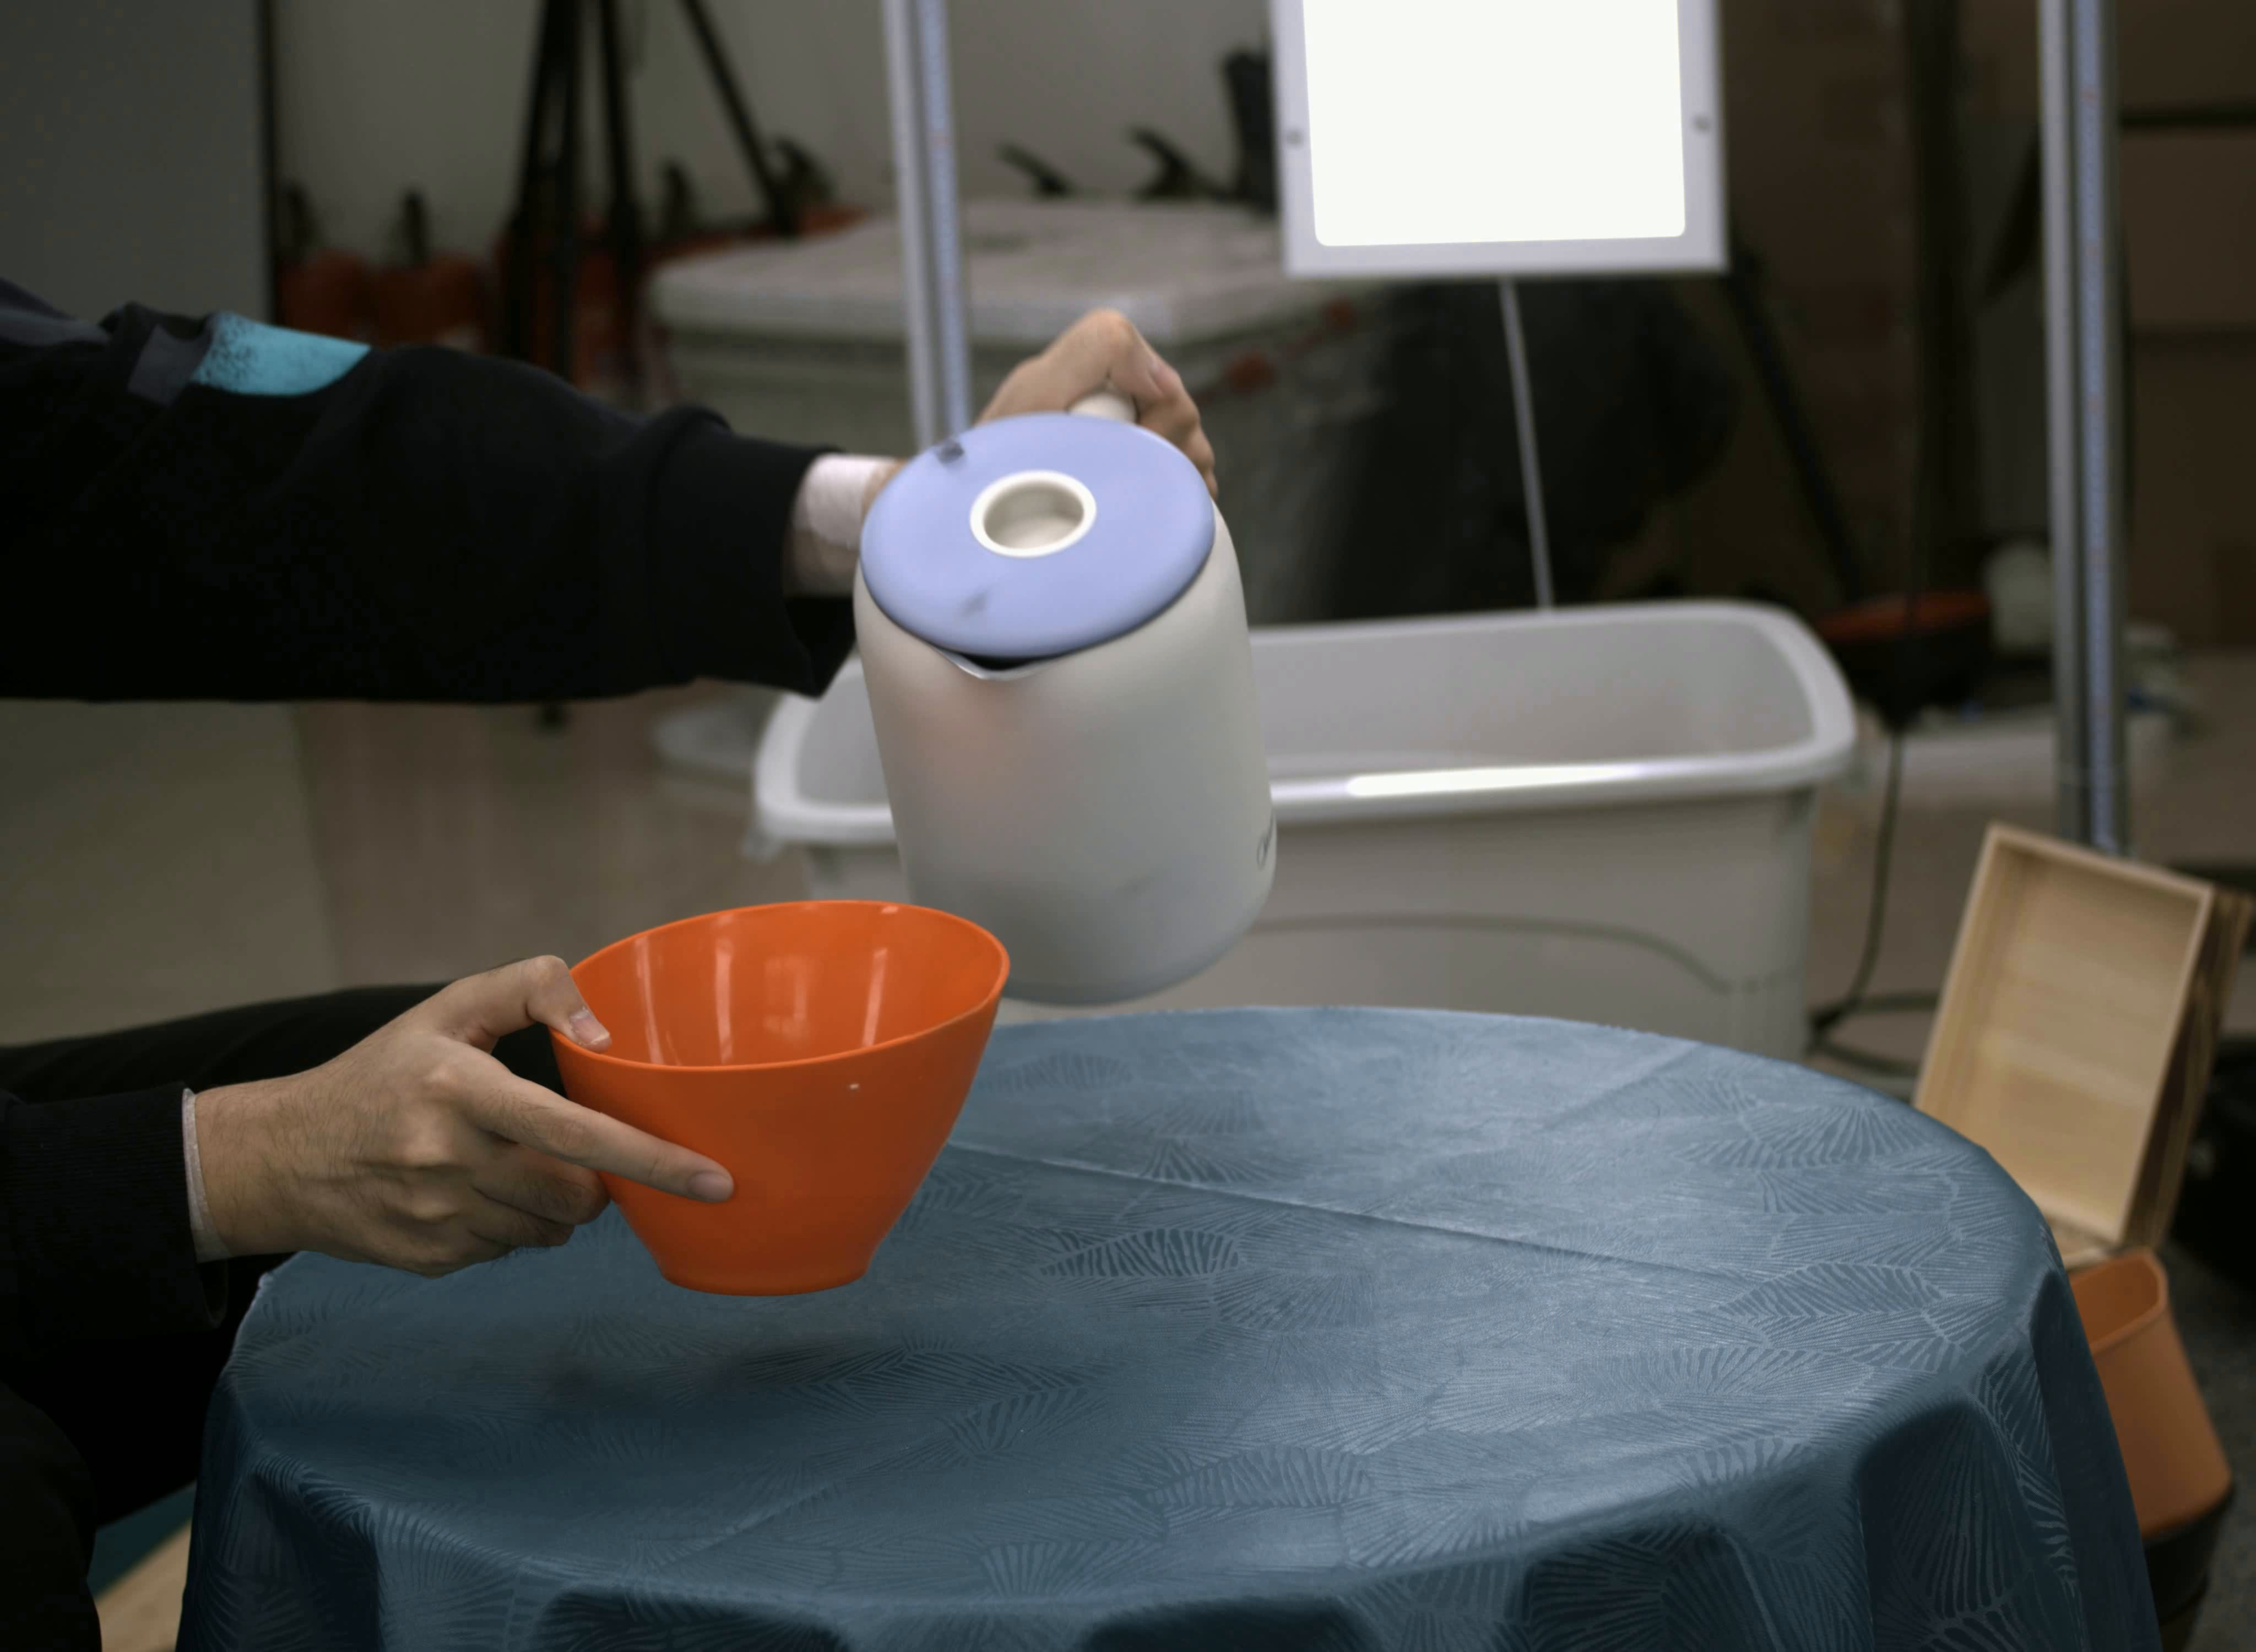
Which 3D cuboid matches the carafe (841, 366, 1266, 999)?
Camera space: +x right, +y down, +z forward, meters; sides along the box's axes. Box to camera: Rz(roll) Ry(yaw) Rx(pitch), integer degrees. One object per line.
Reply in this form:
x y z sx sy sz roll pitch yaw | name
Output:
-0.020 -0.060 1.881 0.133 0.183 0.189 2 44 12 | carafe

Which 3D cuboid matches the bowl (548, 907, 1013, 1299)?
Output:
-0.110 0.090 1.751 0.147 0.105 0.148 0 10 -1 | bowl
